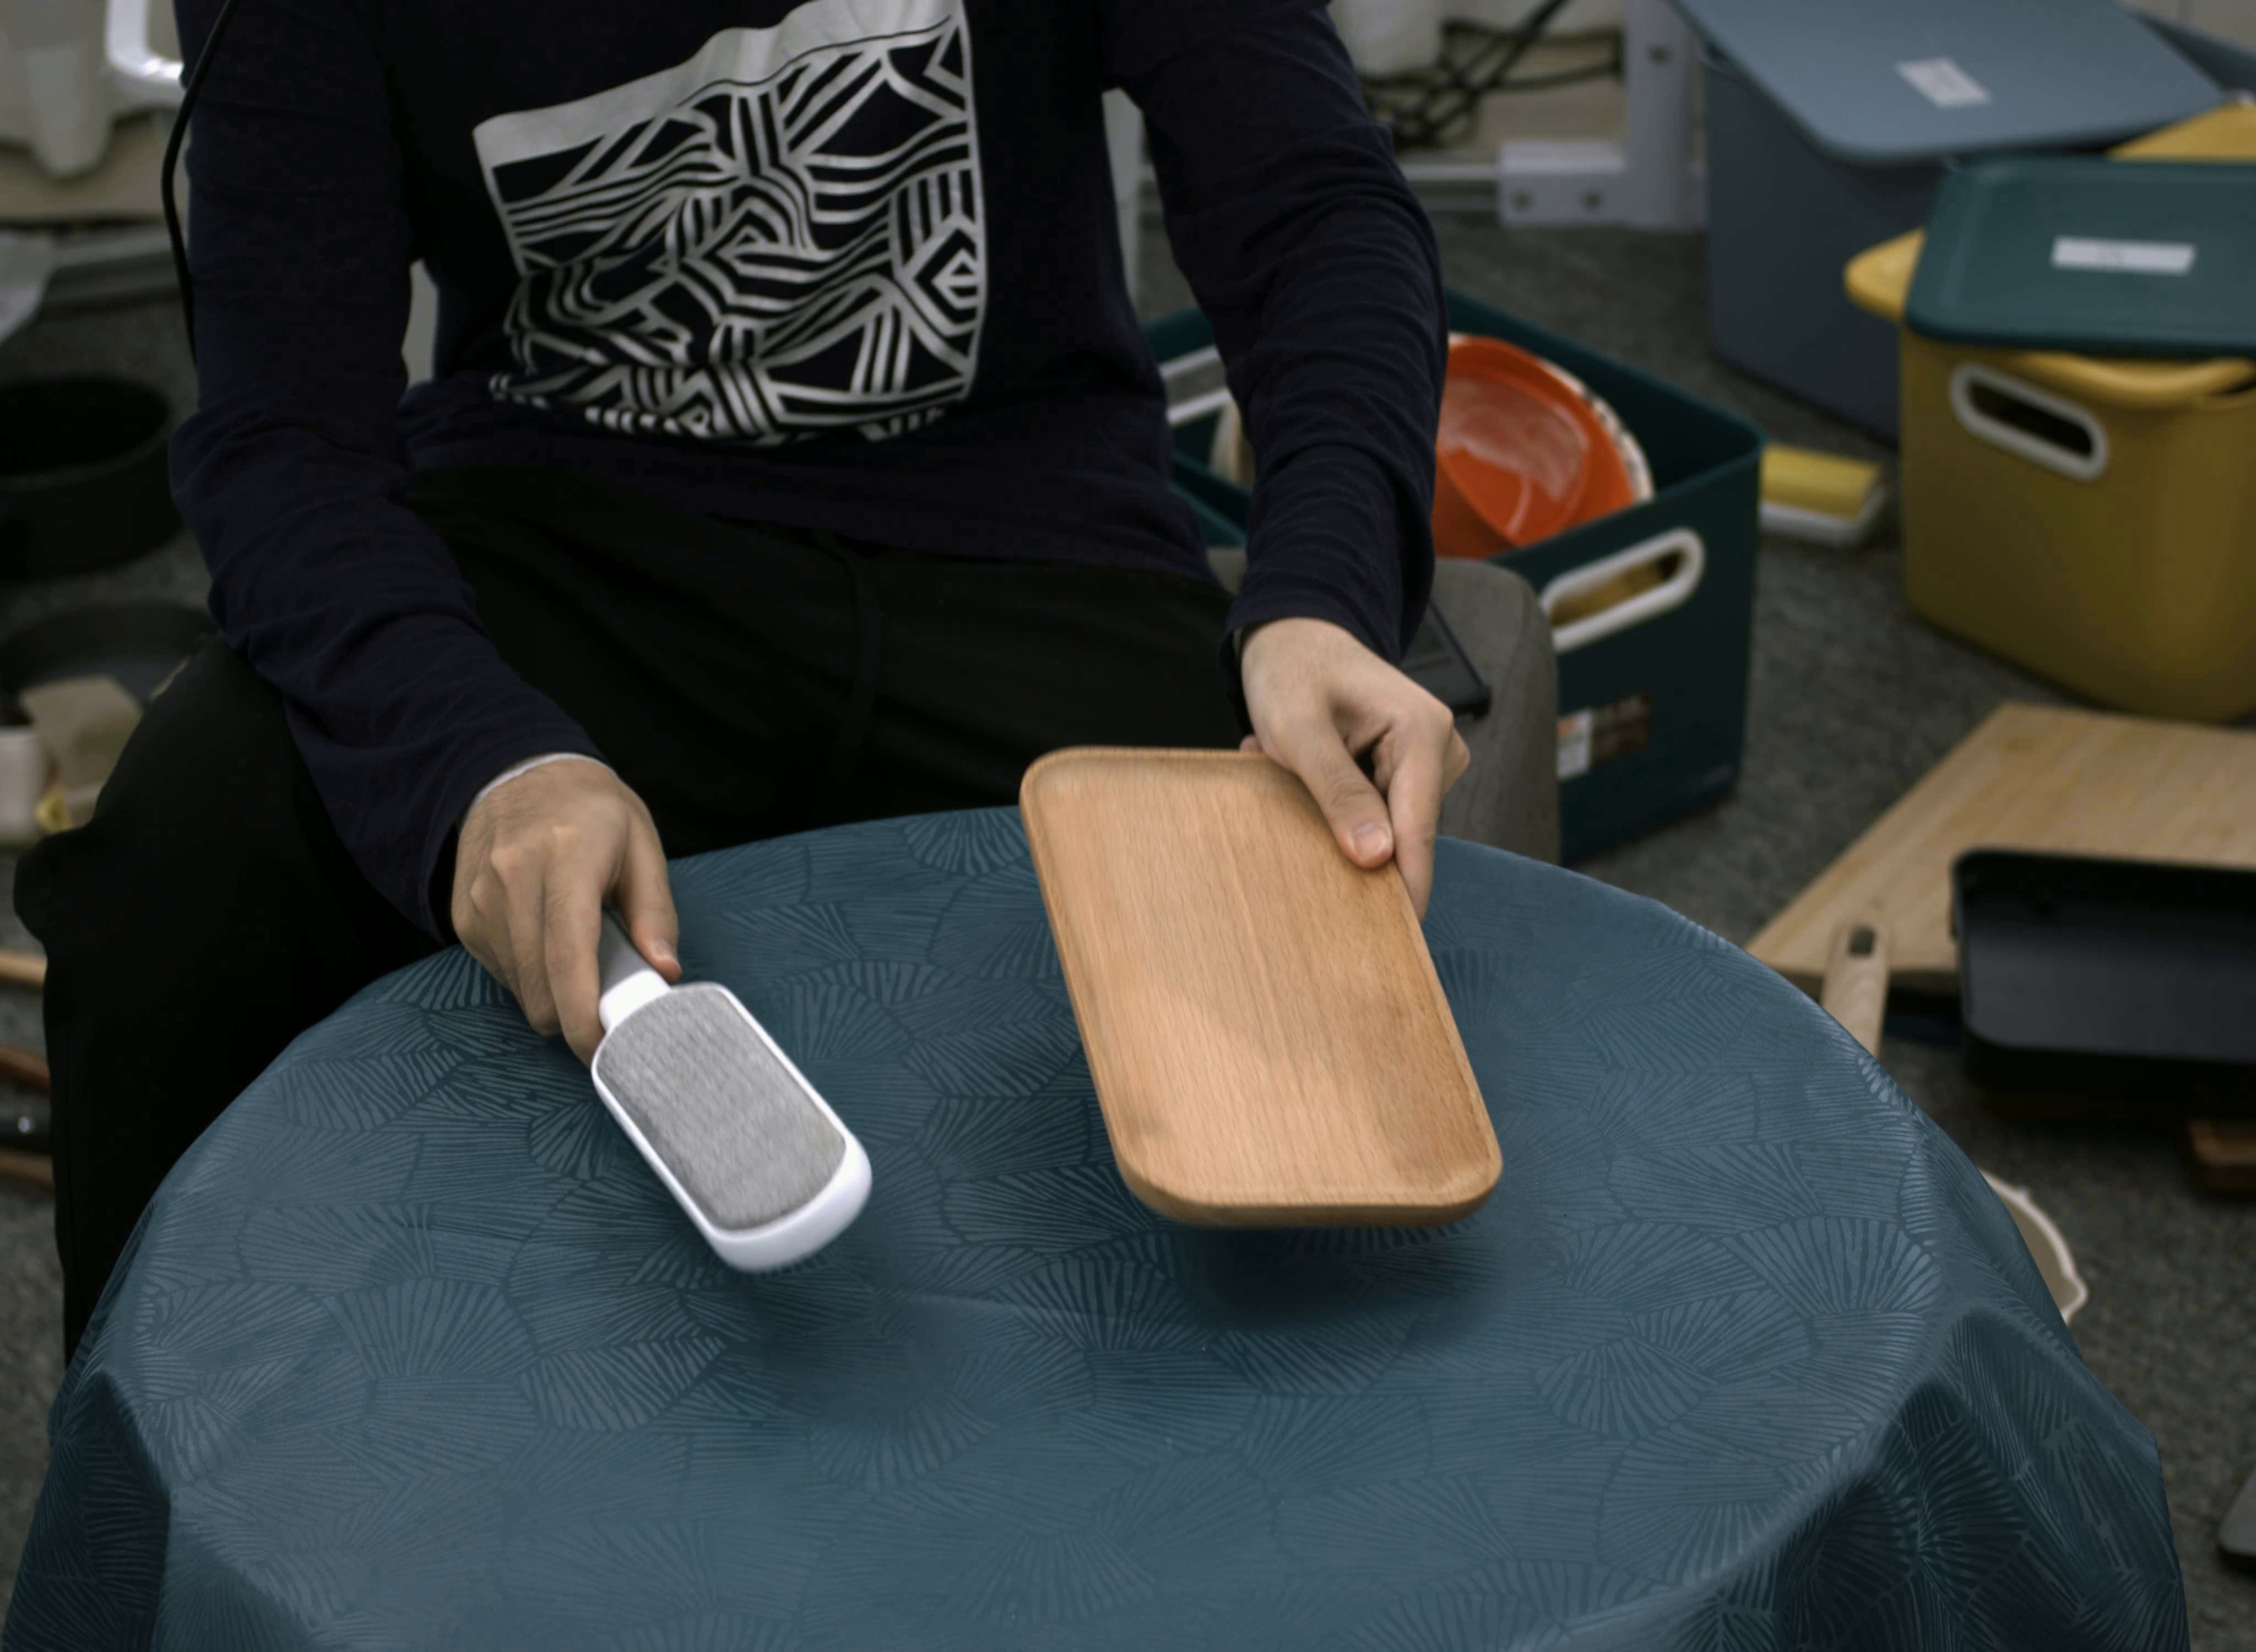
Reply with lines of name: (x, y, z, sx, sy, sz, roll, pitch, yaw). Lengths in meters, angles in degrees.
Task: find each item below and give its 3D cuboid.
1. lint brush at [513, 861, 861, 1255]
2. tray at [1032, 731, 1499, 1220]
lint brush: (-0.154, 0.070, 1.875, 0.060, 0.021, 0.310, -38, 28, -5)
tray: (0.042, 0.047, 1.870, 0.130, 0.022, 0.255, 6, 34, -13)
